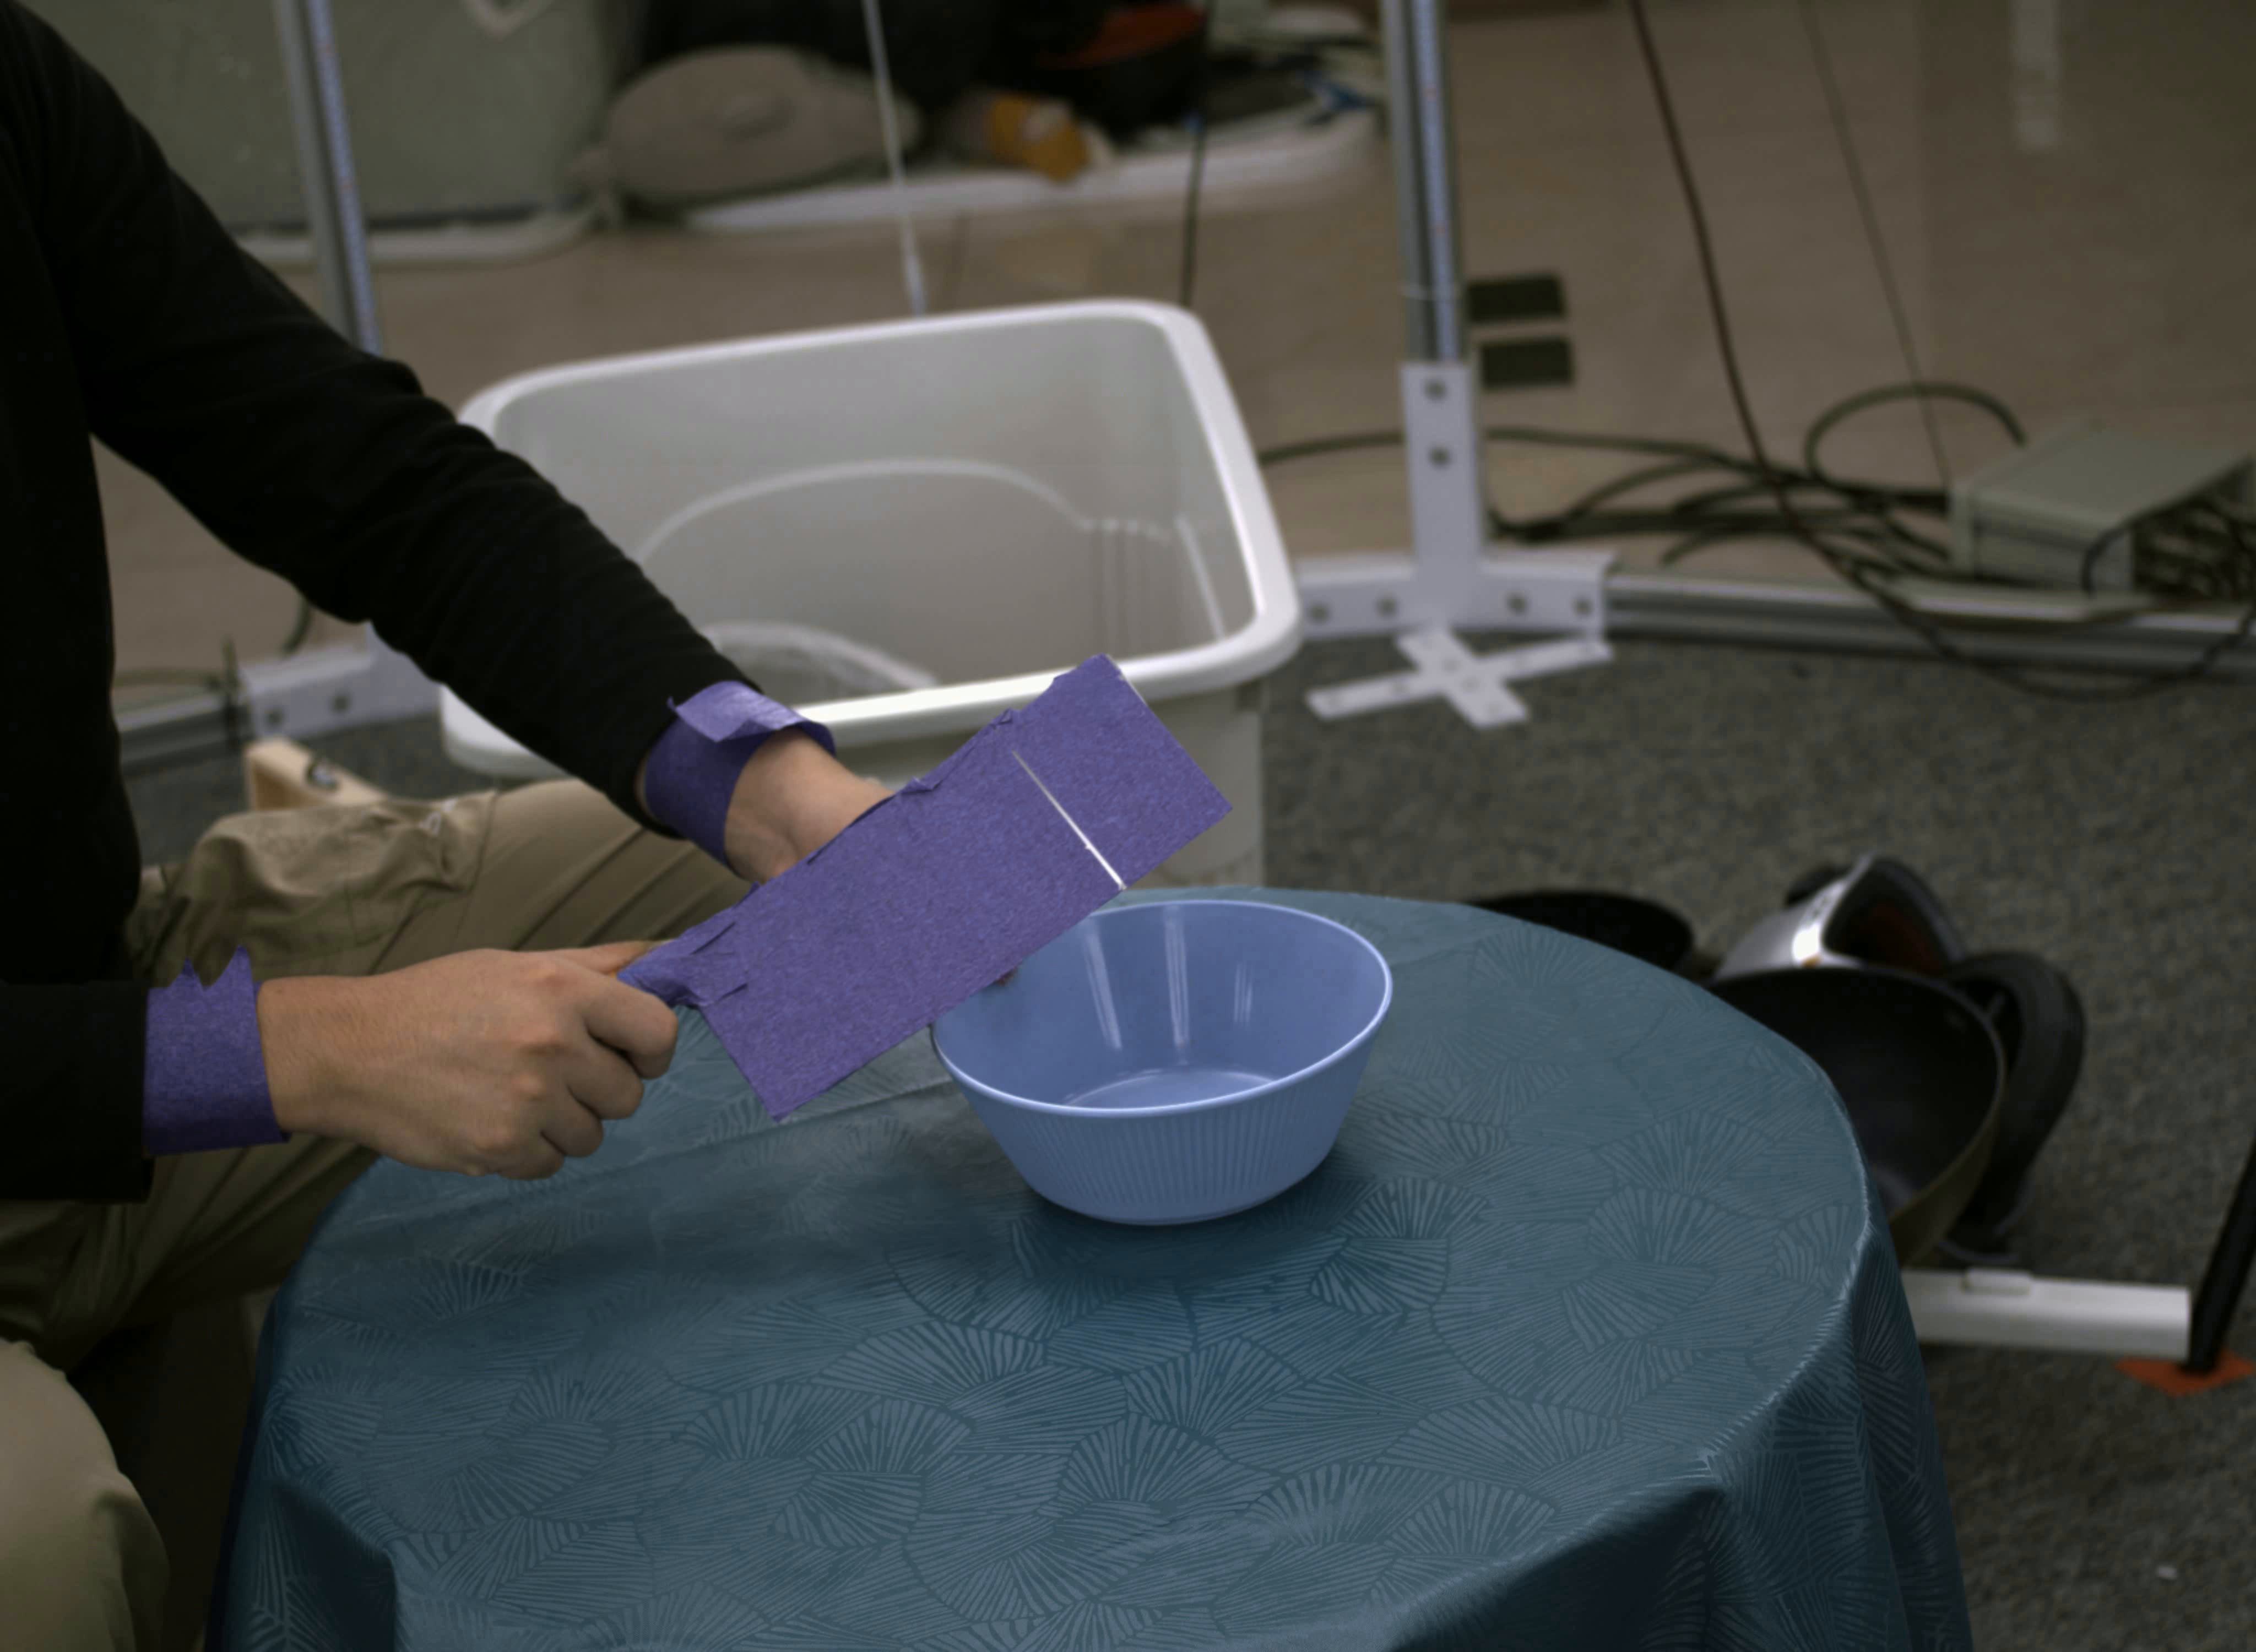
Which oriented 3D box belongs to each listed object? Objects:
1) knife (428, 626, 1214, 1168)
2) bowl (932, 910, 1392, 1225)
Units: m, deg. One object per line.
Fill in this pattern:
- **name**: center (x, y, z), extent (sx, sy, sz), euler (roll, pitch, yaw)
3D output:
- **knife**: center (-0.114, 0.046, 2.121), extent (0.315, 0.032, 0.102), euler (-36, 61, -2)
- **bowl**: center (0.016, 0.097, 2.152), extent (0.176, 0.071, 0.173), euler (-5, 23, 2)
